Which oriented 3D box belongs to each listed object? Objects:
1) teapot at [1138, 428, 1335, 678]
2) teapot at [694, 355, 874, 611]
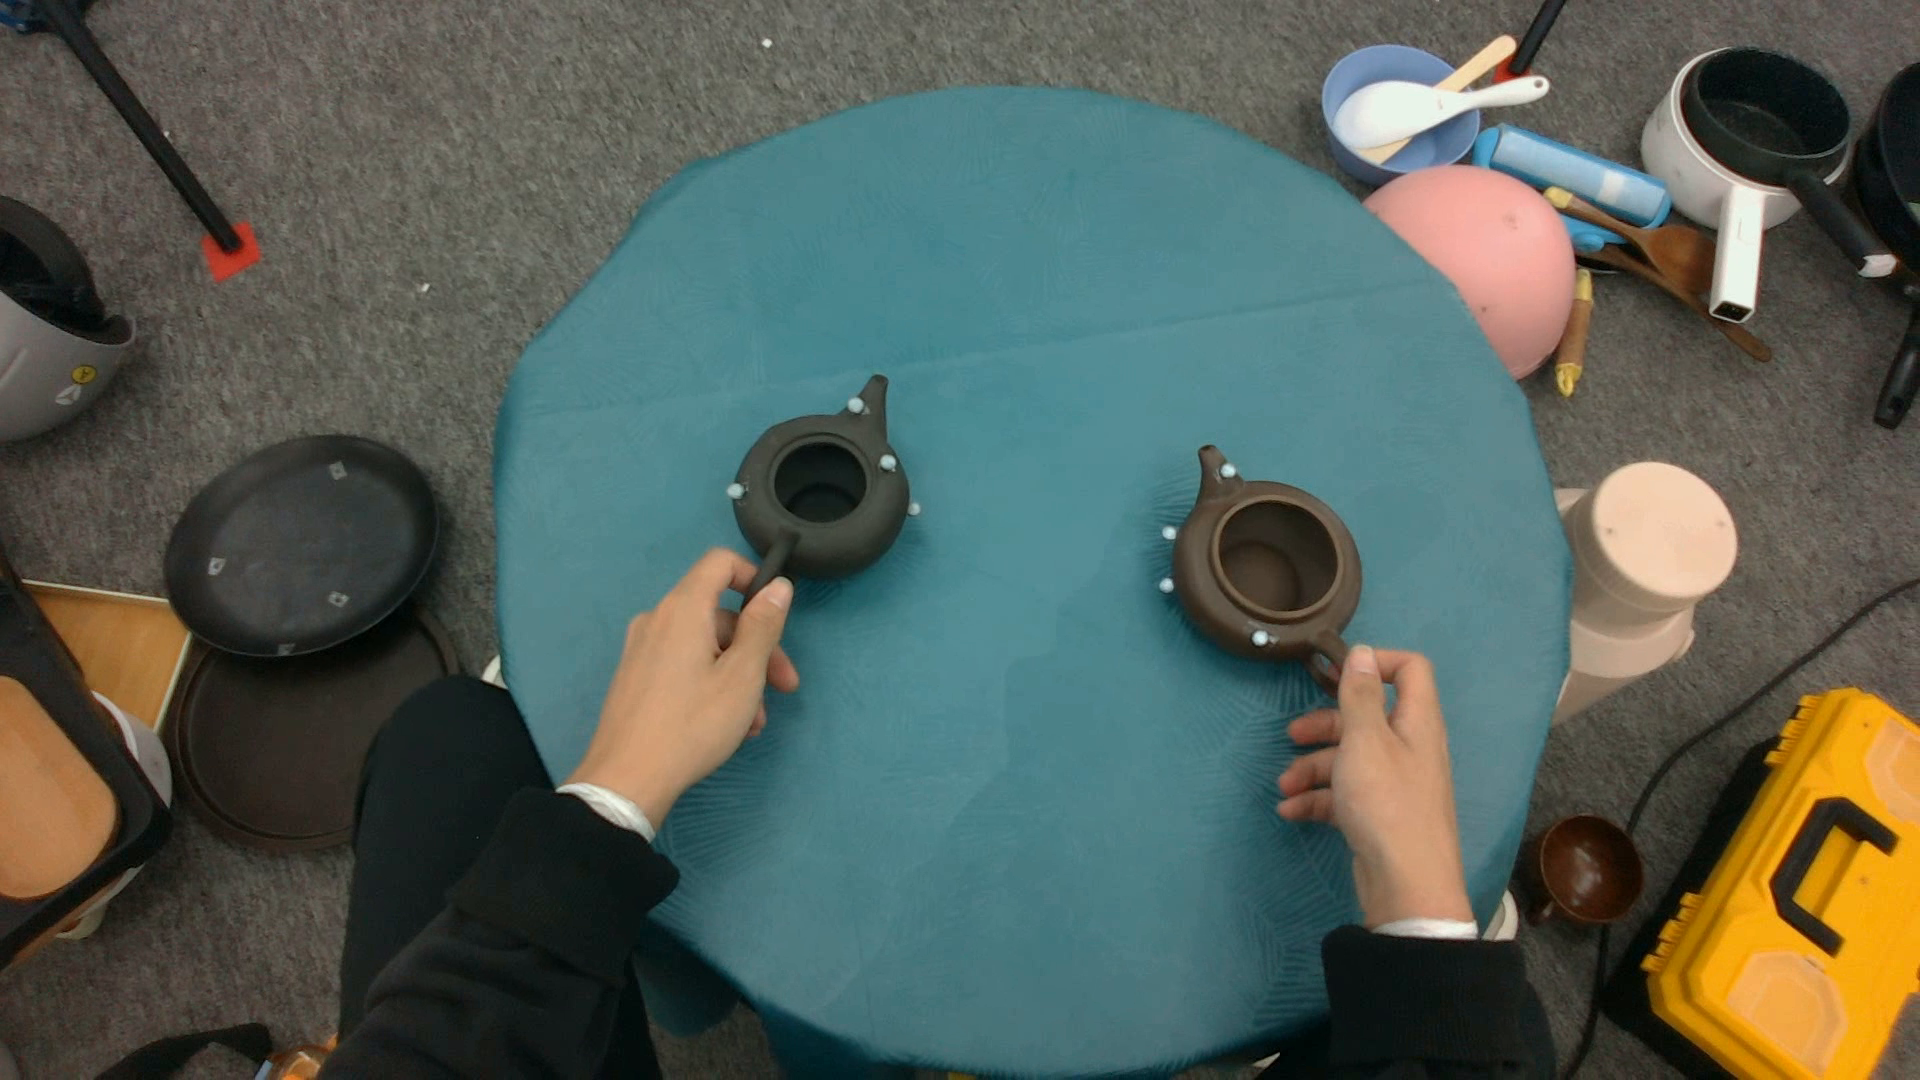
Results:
[{"bbox_3d":[0.150,0.009,0.743,0.103,0.053,0.153,-33,74,-15],"label":"teapot"},{"bbox_3d":[-0.094,-0.028,0.728,0.092,0.064,0.155,23,66,7],"label":"teapot"}]
